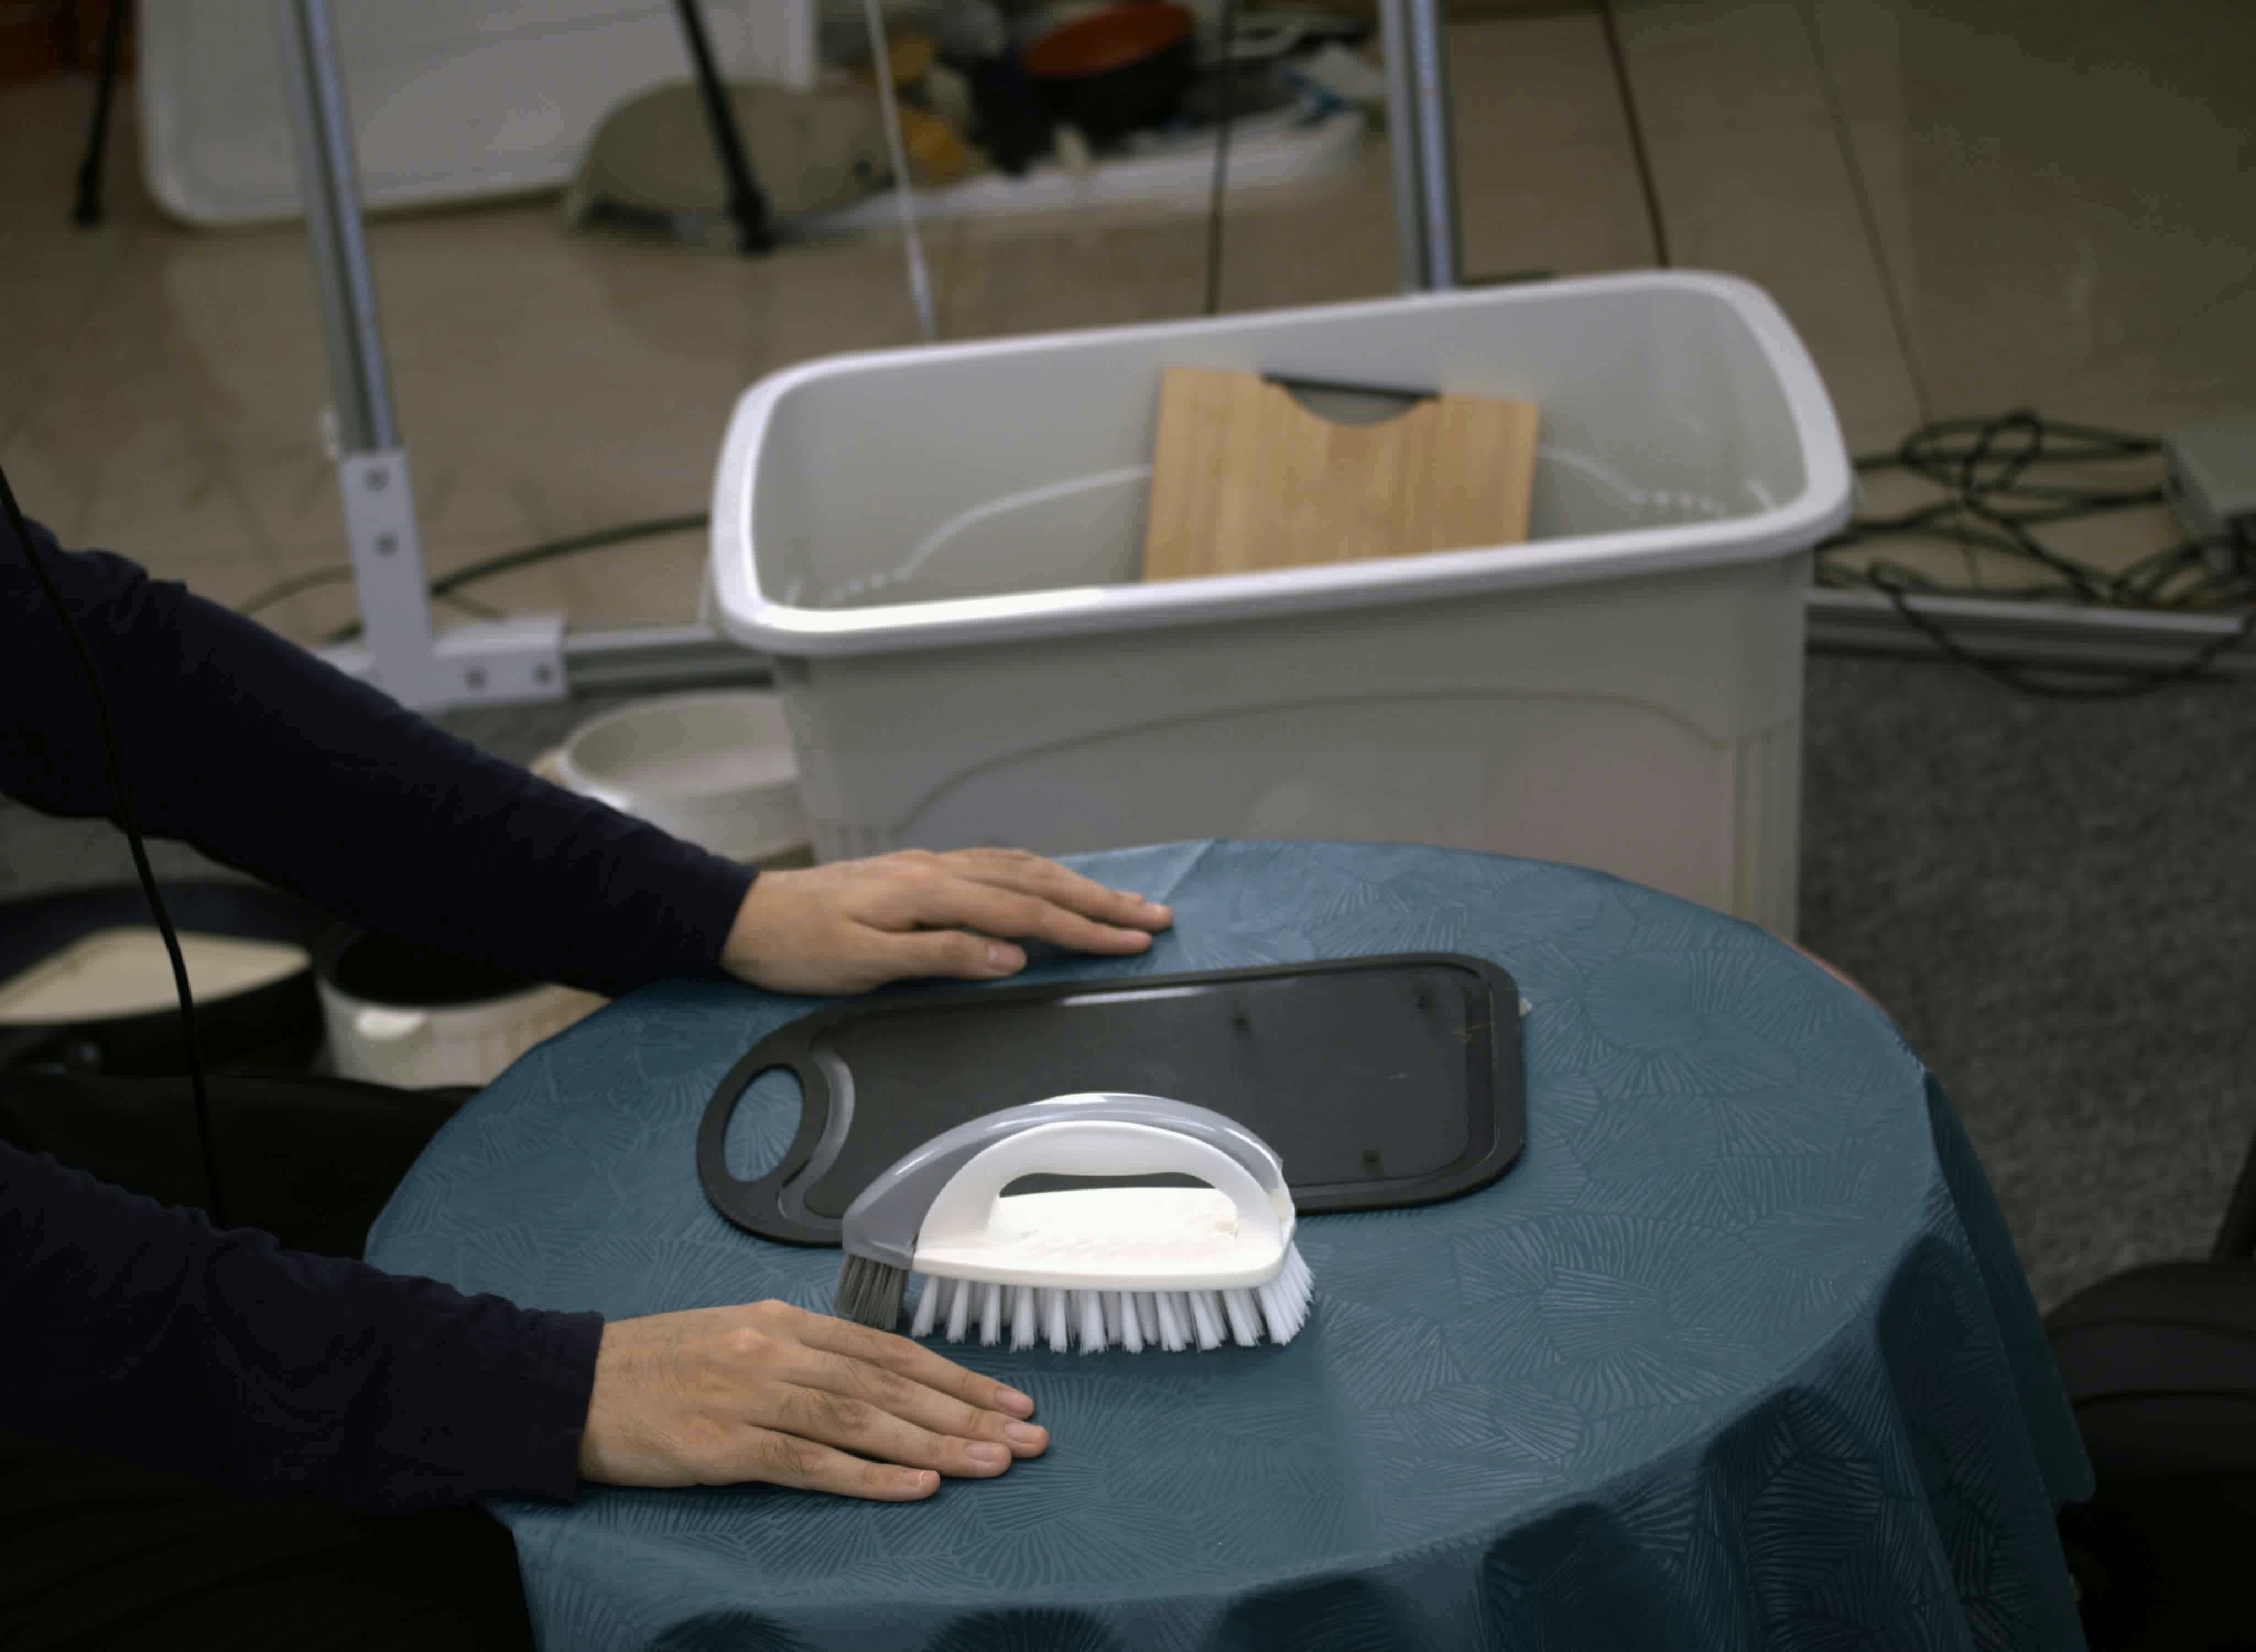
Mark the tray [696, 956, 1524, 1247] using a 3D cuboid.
[{"bbox_3d":[-0.008,0.105,2.213,0.325,0.010,0.208,-4,25,6],"label":"tray"}]

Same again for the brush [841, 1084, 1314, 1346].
[{"bbox_3d":[-0.024,0.139,2.043,0.175,0.095,0.060,-3,25,13],"label":"brush"}]
